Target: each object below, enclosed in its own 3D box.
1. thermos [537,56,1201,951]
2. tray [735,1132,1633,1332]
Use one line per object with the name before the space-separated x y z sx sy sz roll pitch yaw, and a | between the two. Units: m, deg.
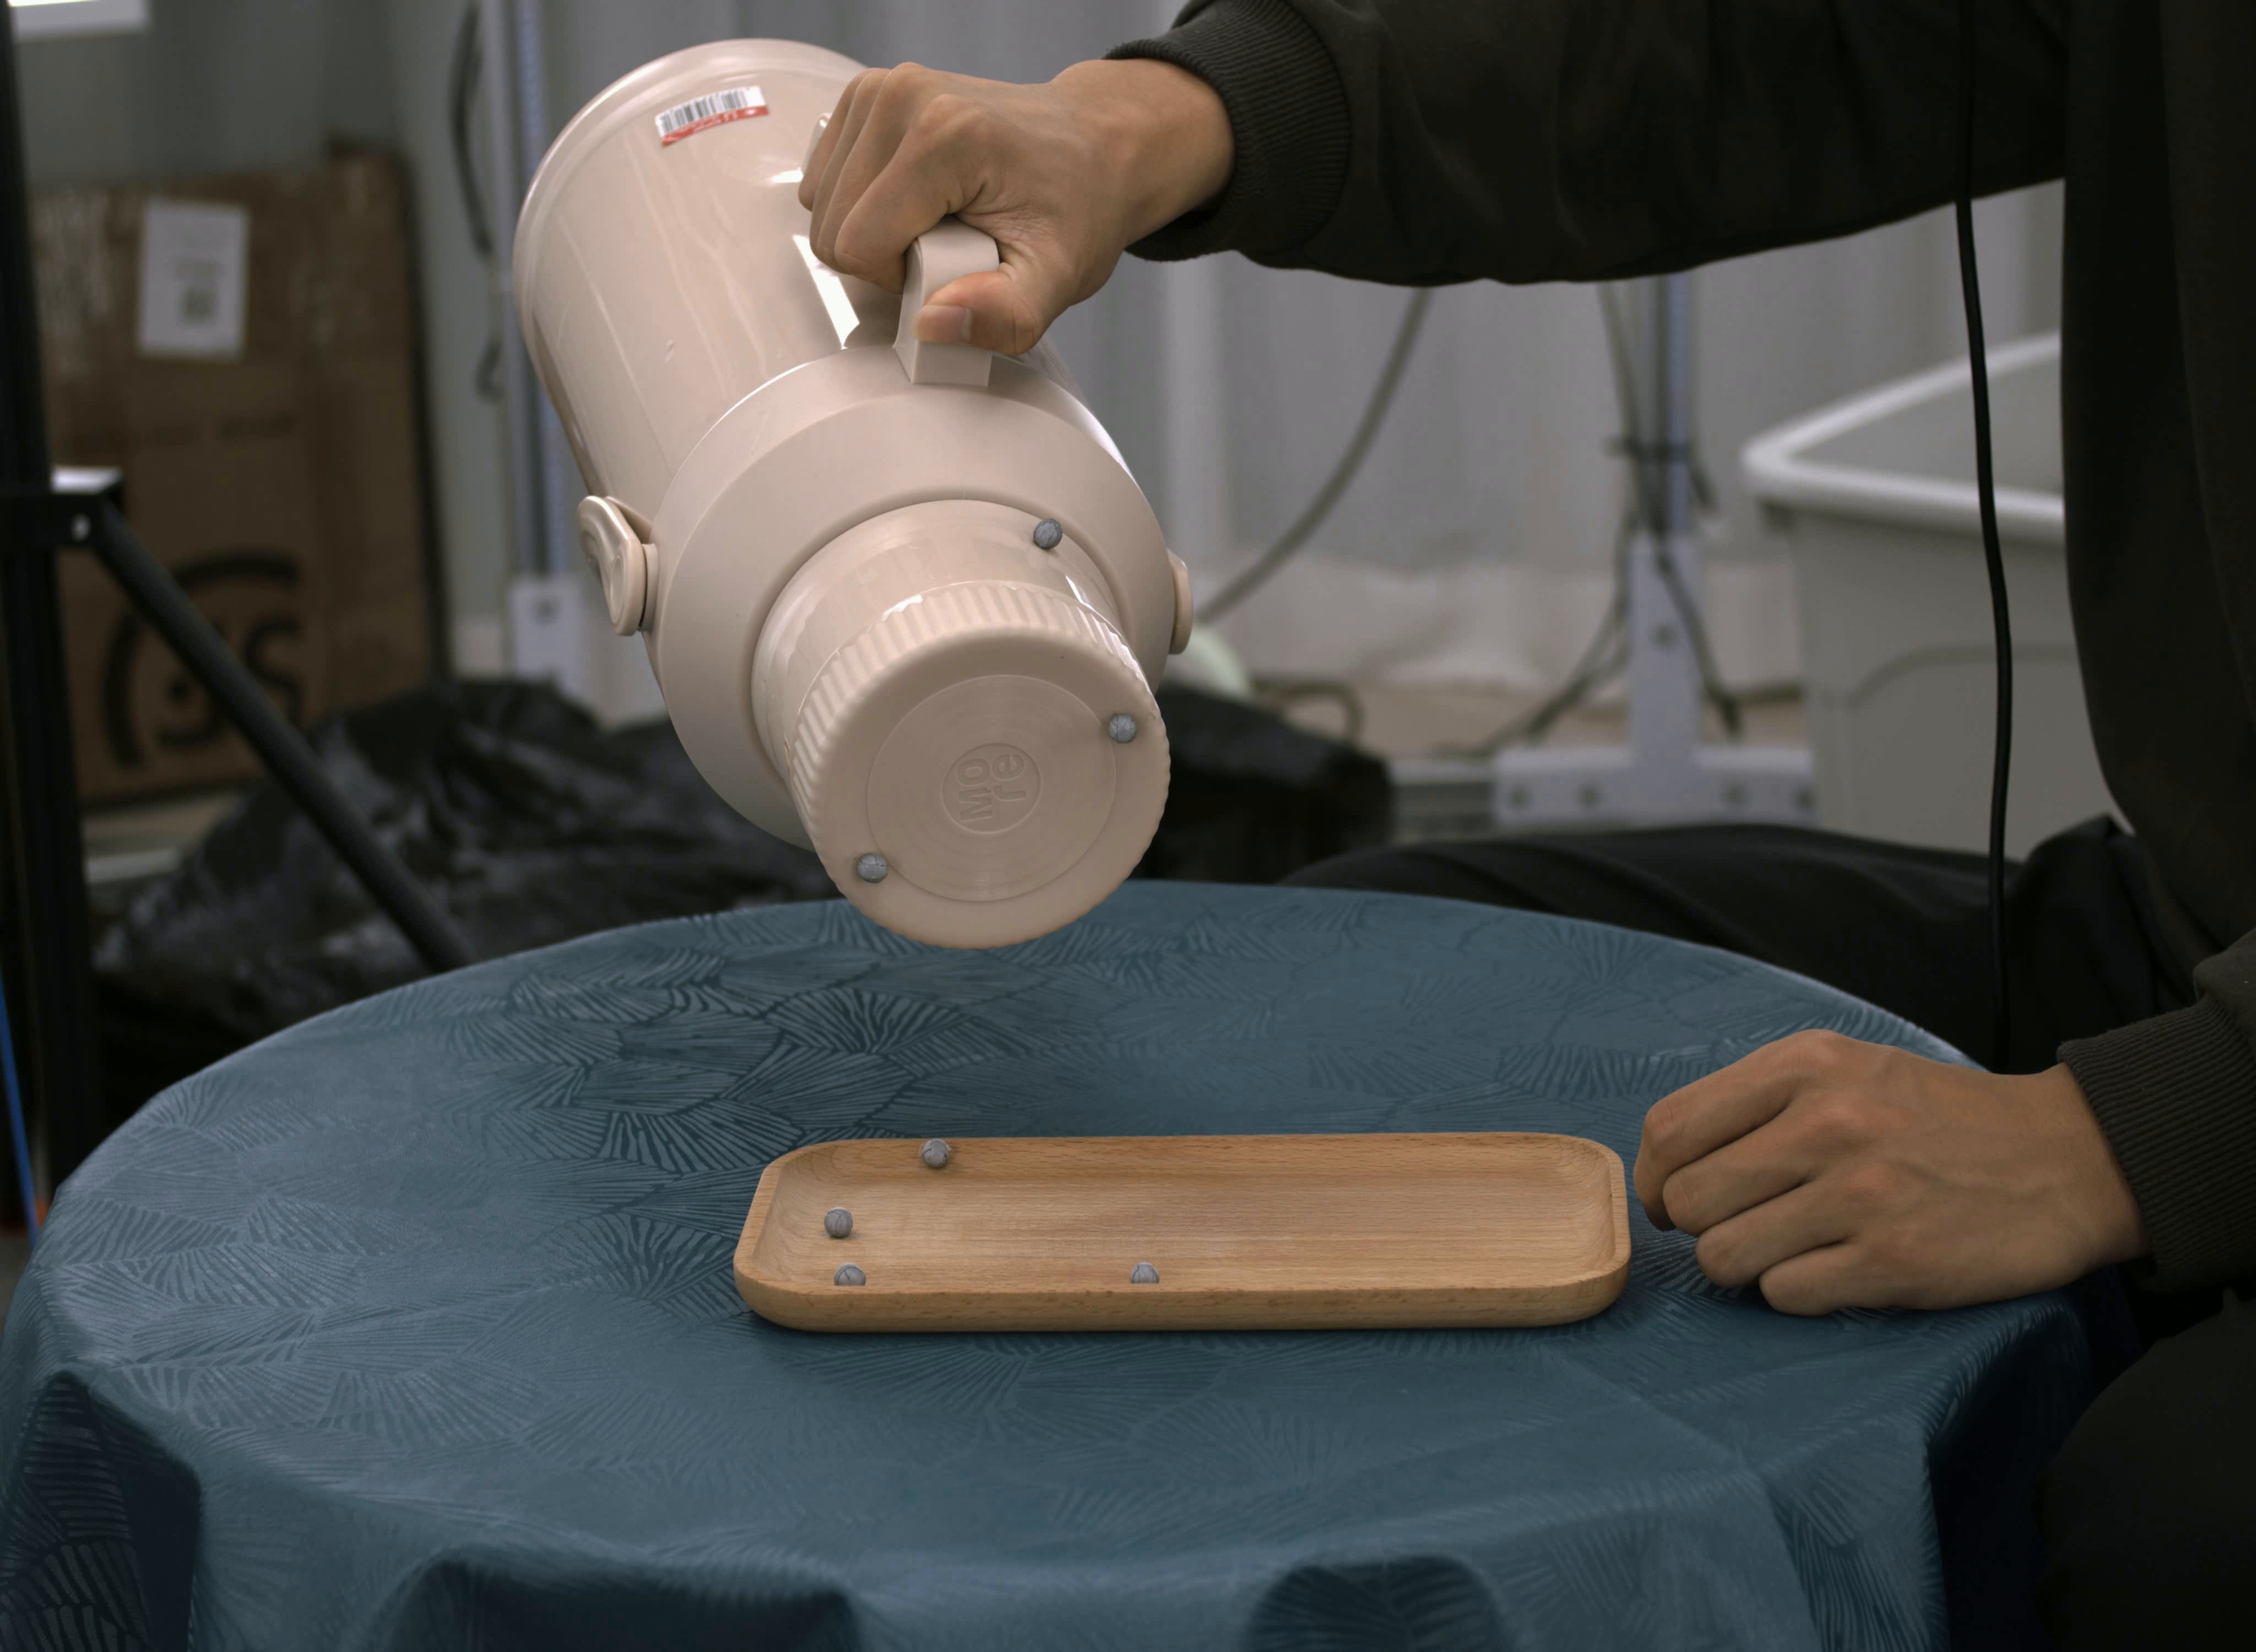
thermos | -0.078 -0.114 1.660 0.172 0.207 0.412 1 26 -14
tray | 0.017 0.115 1.503 0.251 0.023 0.130 0 18 6
